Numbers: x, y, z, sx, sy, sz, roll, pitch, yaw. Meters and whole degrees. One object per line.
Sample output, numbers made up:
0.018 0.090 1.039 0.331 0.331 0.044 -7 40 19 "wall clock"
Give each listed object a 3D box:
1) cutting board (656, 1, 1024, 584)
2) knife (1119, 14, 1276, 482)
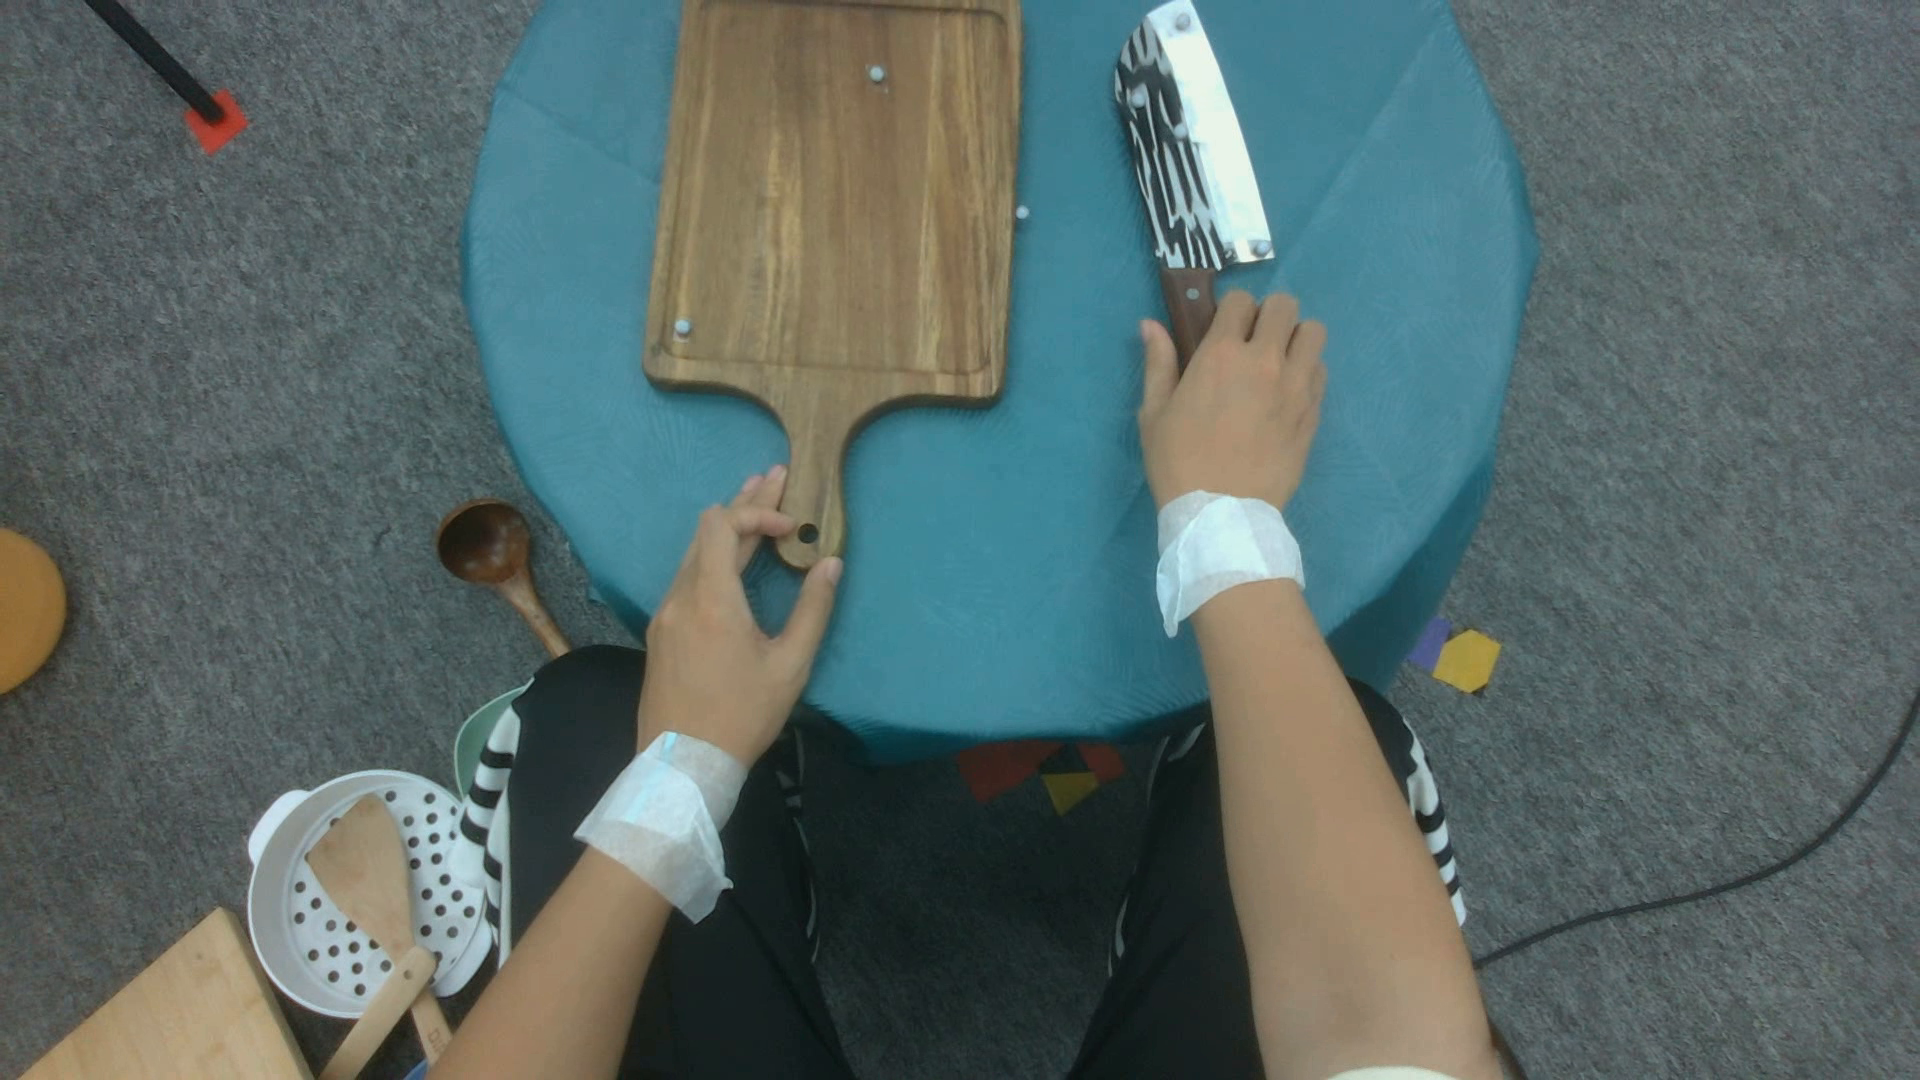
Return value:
-0.067 -0.148 0.779 0.201 0.023 0.353 3 75 1 "cutting board"
0.142 -0.176 0.788 0.068 0.024 0.300 -9 72 -4 "knife"
